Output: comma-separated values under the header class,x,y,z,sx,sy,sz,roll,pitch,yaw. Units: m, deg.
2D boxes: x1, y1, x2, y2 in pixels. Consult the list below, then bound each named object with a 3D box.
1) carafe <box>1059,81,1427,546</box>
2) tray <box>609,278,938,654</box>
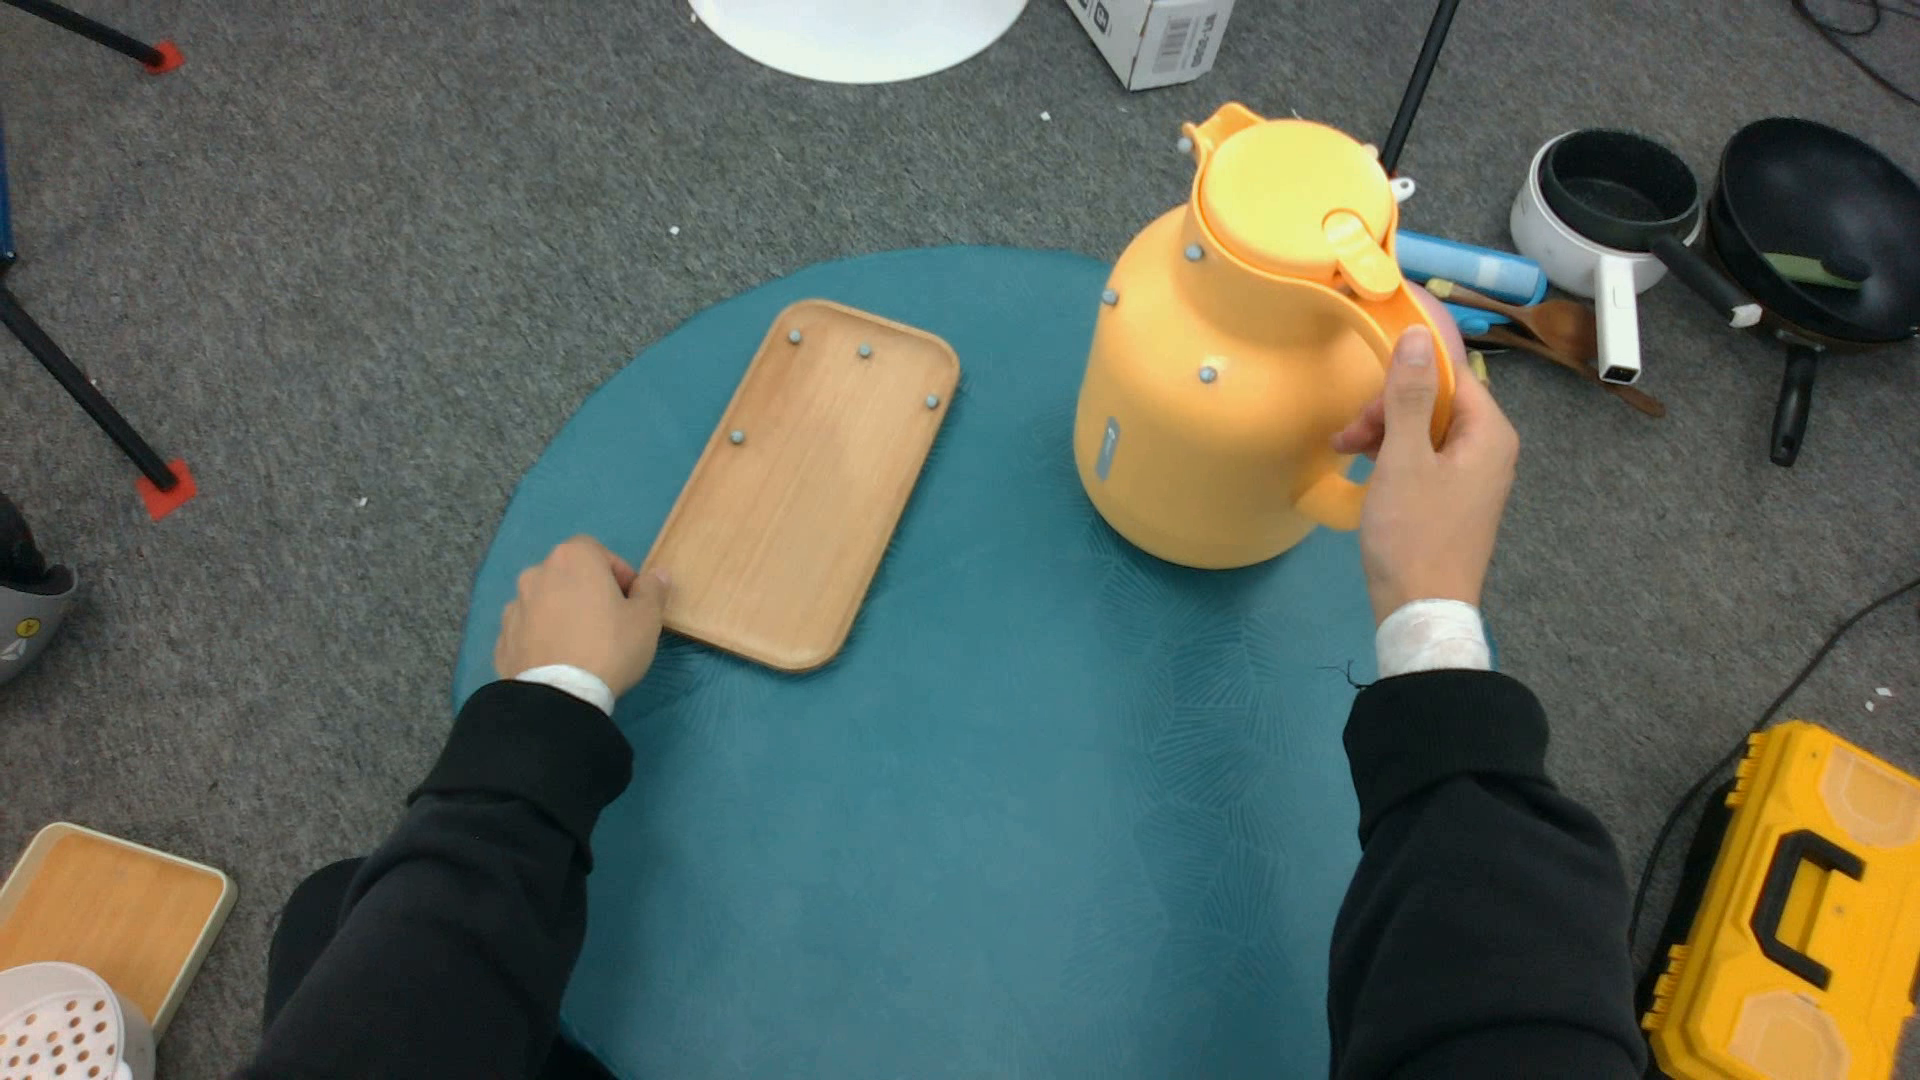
class,x,y,z,sx,sy,sz,roll,pitch,yaw
carafe,0.152,-0.102,0.743,0.164,0.259,0.203,-27,65,-14
tray,-0.108,-0.051,0.836,0.130,0.023,0.252,18,63,9
